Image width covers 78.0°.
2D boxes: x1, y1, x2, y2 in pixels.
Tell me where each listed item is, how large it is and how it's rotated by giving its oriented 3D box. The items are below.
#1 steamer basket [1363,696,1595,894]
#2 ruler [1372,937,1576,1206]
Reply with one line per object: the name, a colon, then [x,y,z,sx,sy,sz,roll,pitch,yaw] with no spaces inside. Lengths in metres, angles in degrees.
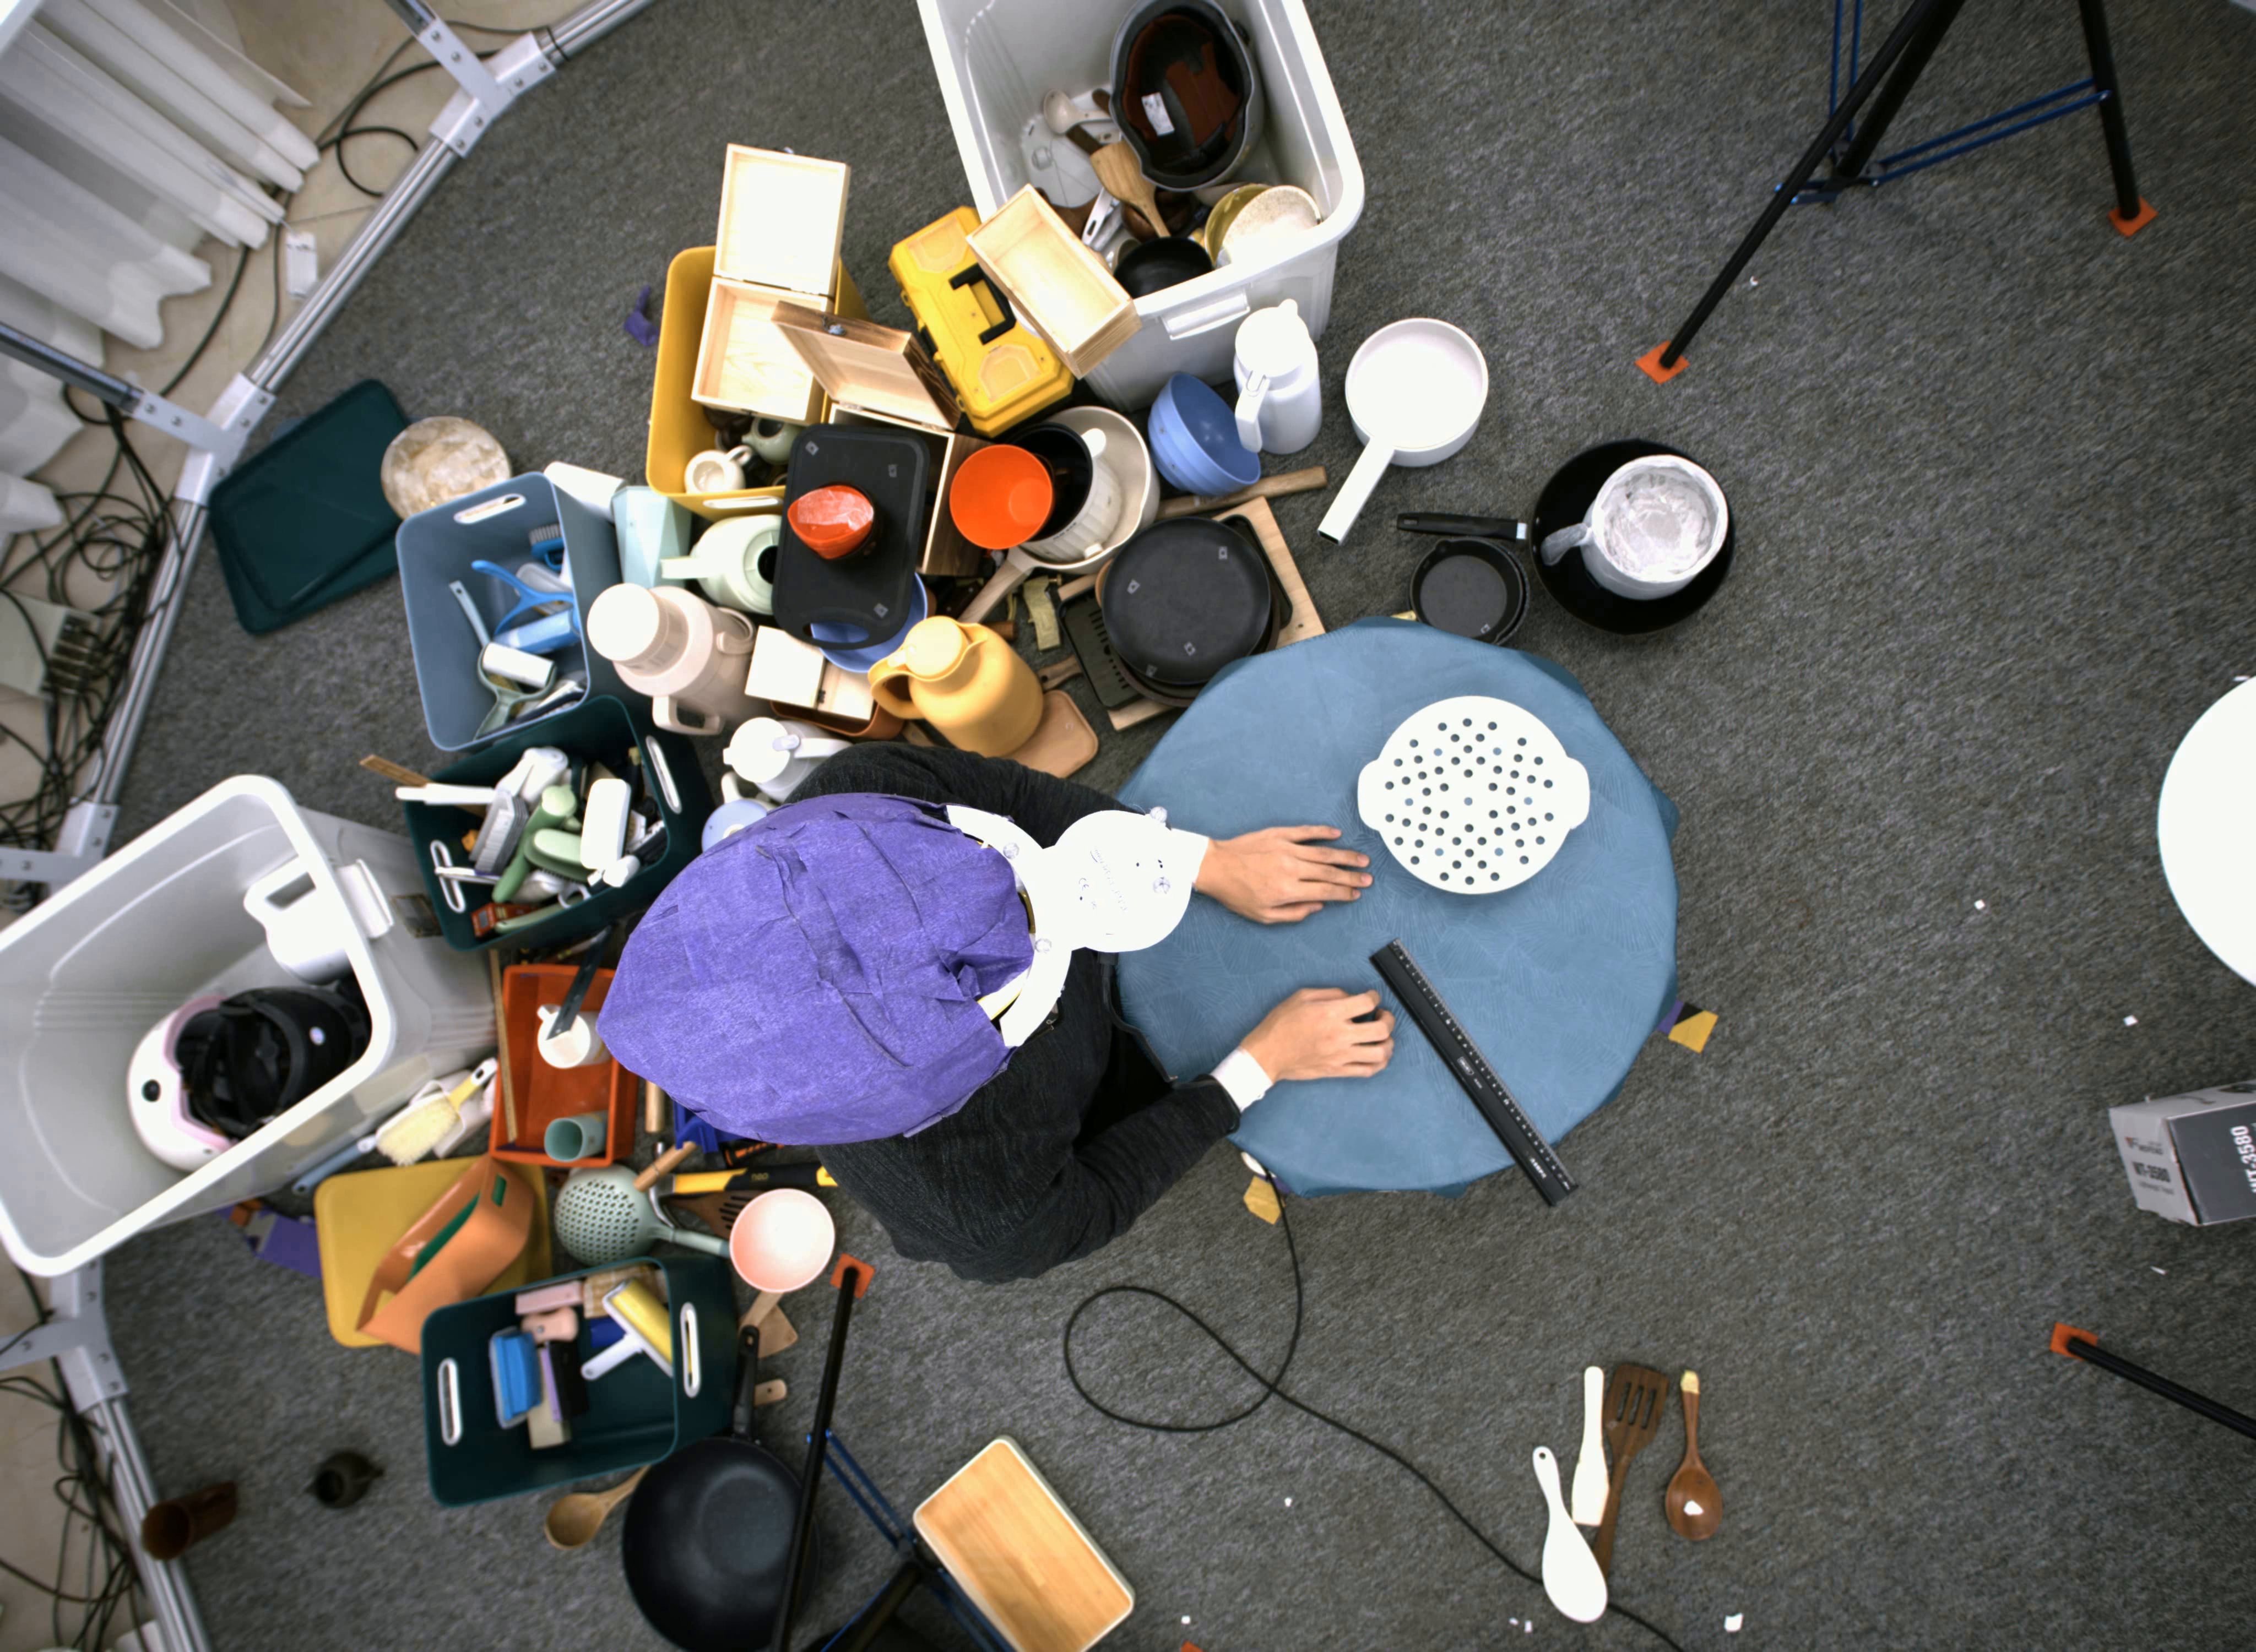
steamer basket: [0.358,-0.032,1.415,0.231,0.069,0.201,0,86,9]
ruler: [0.358,0.250,1.426,0.039,0.017,0.311,-36,81,4]
